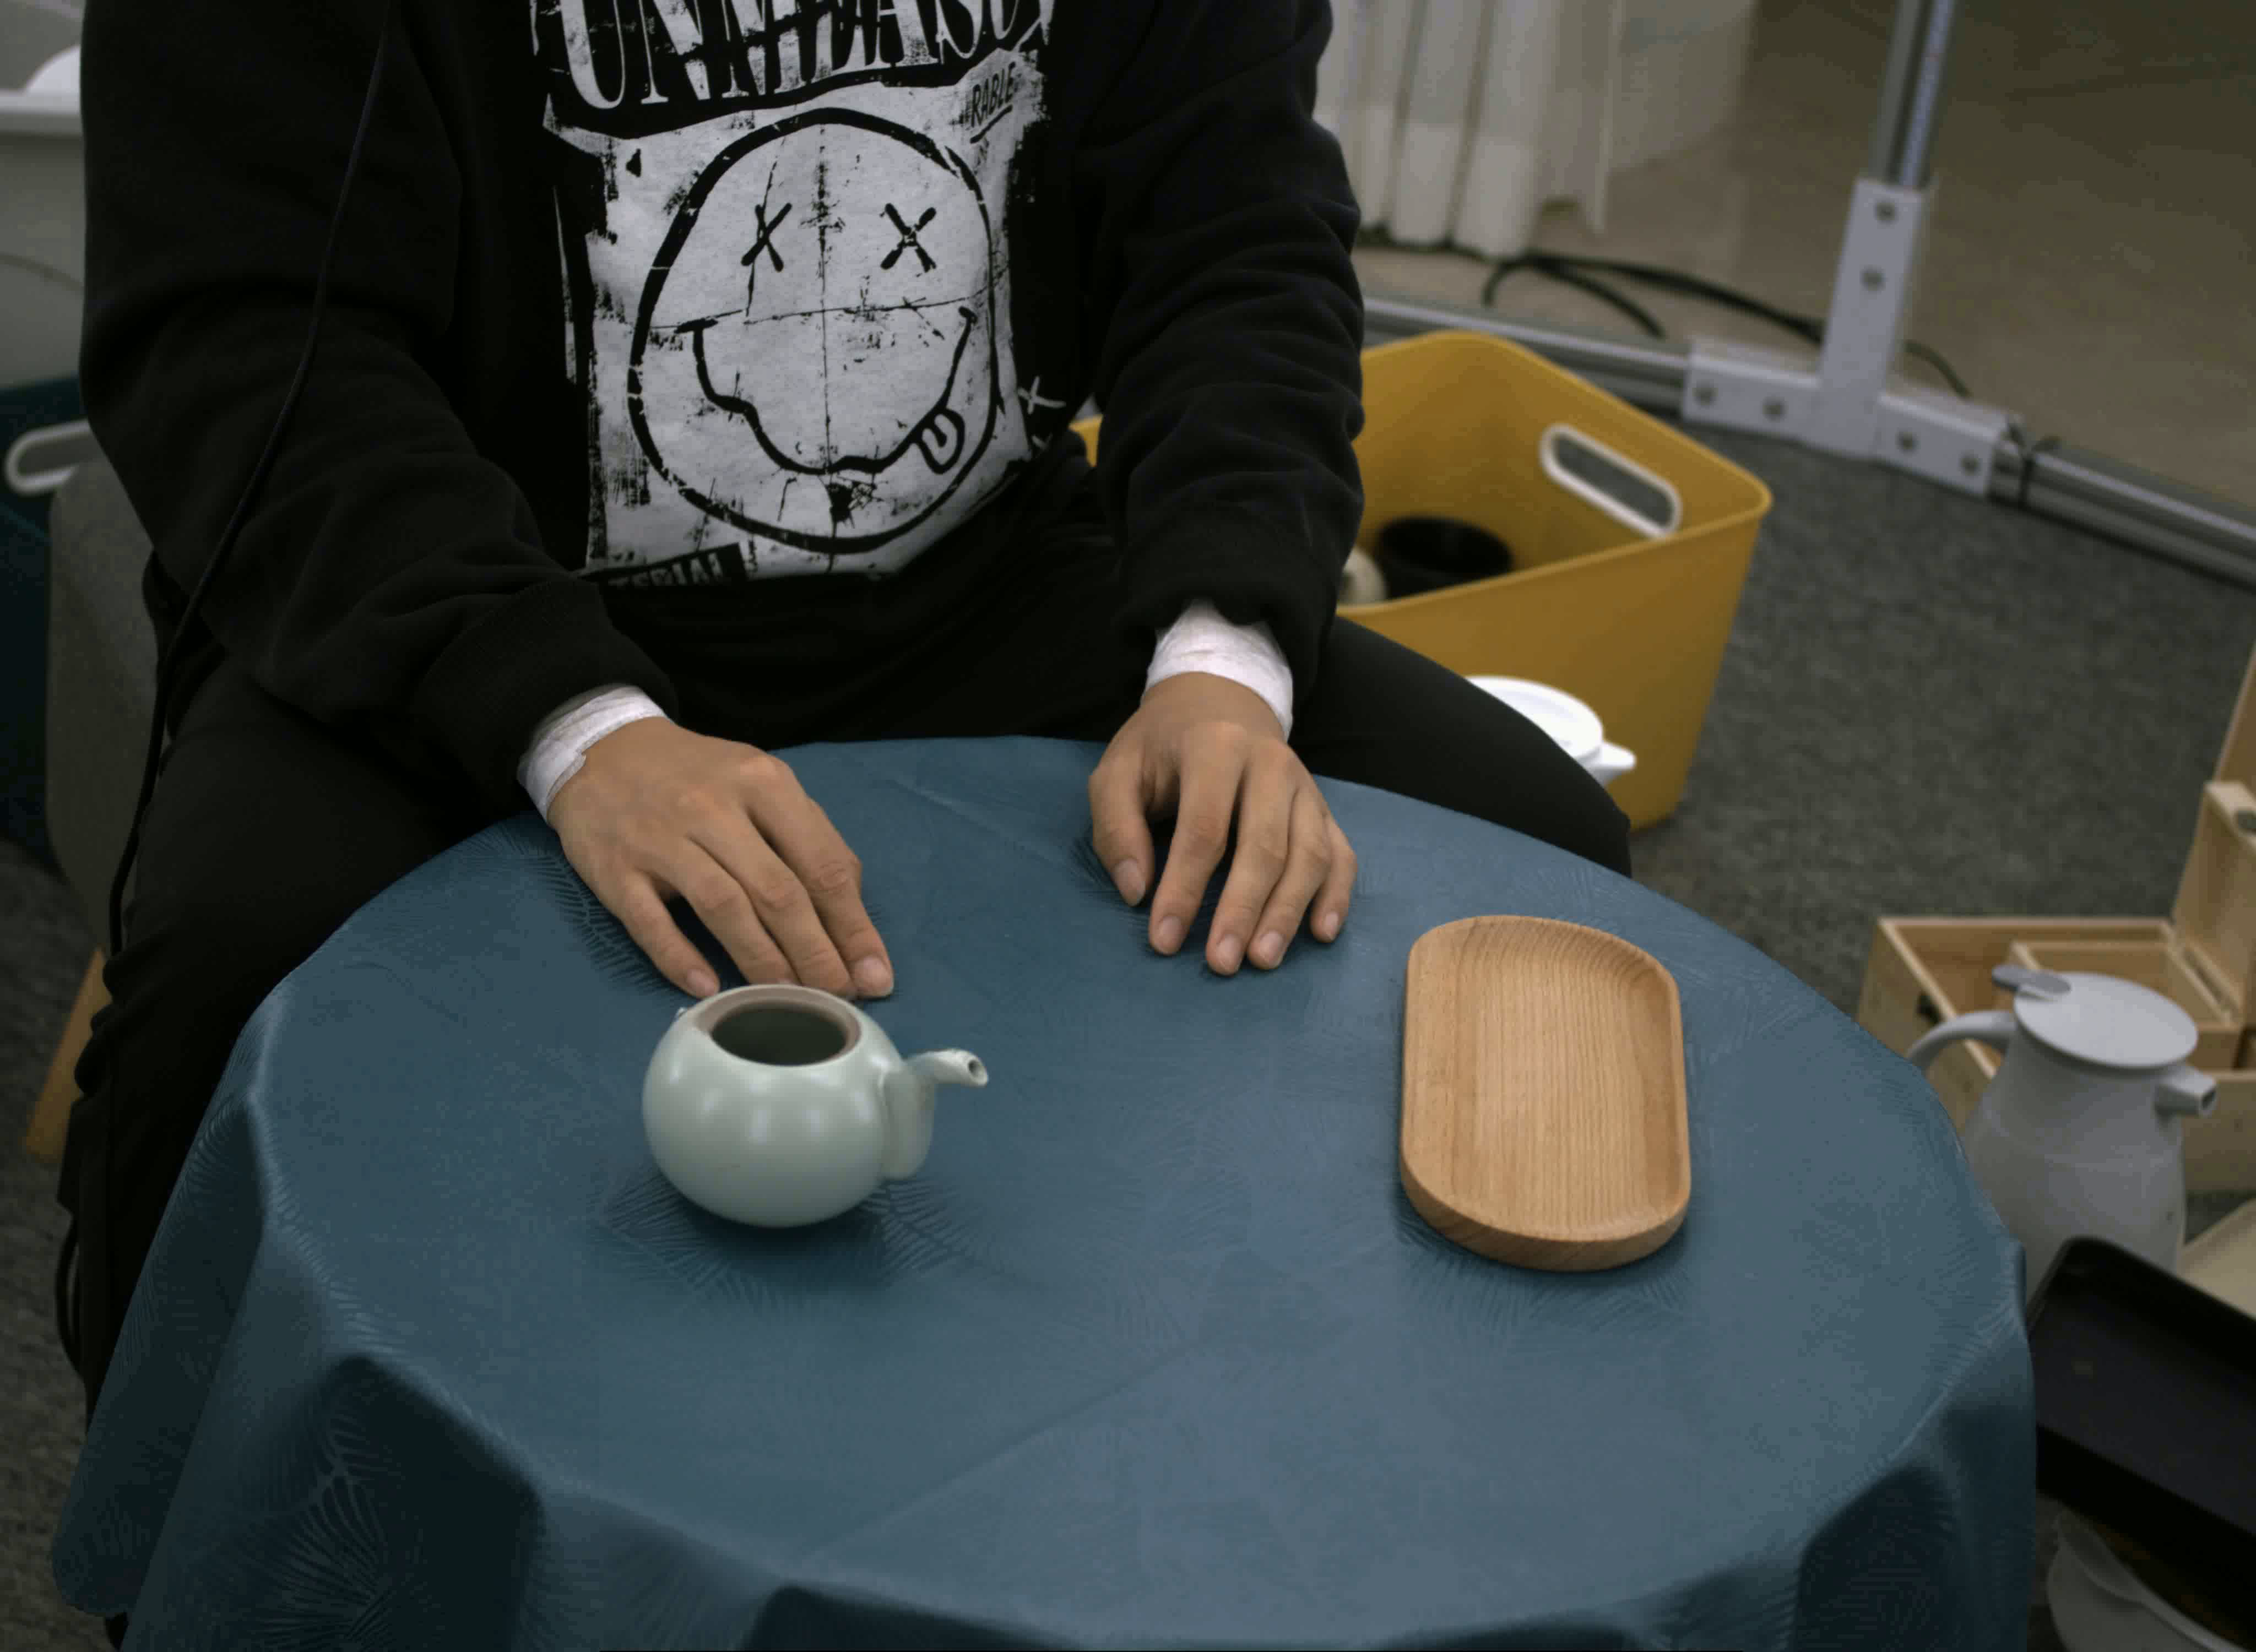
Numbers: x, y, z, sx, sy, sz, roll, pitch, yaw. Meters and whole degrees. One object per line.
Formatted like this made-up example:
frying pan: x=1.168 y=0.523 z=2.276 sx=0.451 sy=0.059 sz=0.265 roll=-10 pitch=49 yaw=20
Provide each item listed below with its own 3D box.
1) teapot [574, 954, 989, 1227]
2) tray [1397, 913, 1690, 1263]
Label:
teapot: x=-0.117 y=0.091 z=1.763 sx=0.144 sy=0.074 sz=0.088 roll=16 pitch=28 yaw=15
tray: x=0.145 y=0.091 z=1.886 sx=0.101 sy=0.020 sz=0.232 roll=8 pitch=25 yaw=-1
